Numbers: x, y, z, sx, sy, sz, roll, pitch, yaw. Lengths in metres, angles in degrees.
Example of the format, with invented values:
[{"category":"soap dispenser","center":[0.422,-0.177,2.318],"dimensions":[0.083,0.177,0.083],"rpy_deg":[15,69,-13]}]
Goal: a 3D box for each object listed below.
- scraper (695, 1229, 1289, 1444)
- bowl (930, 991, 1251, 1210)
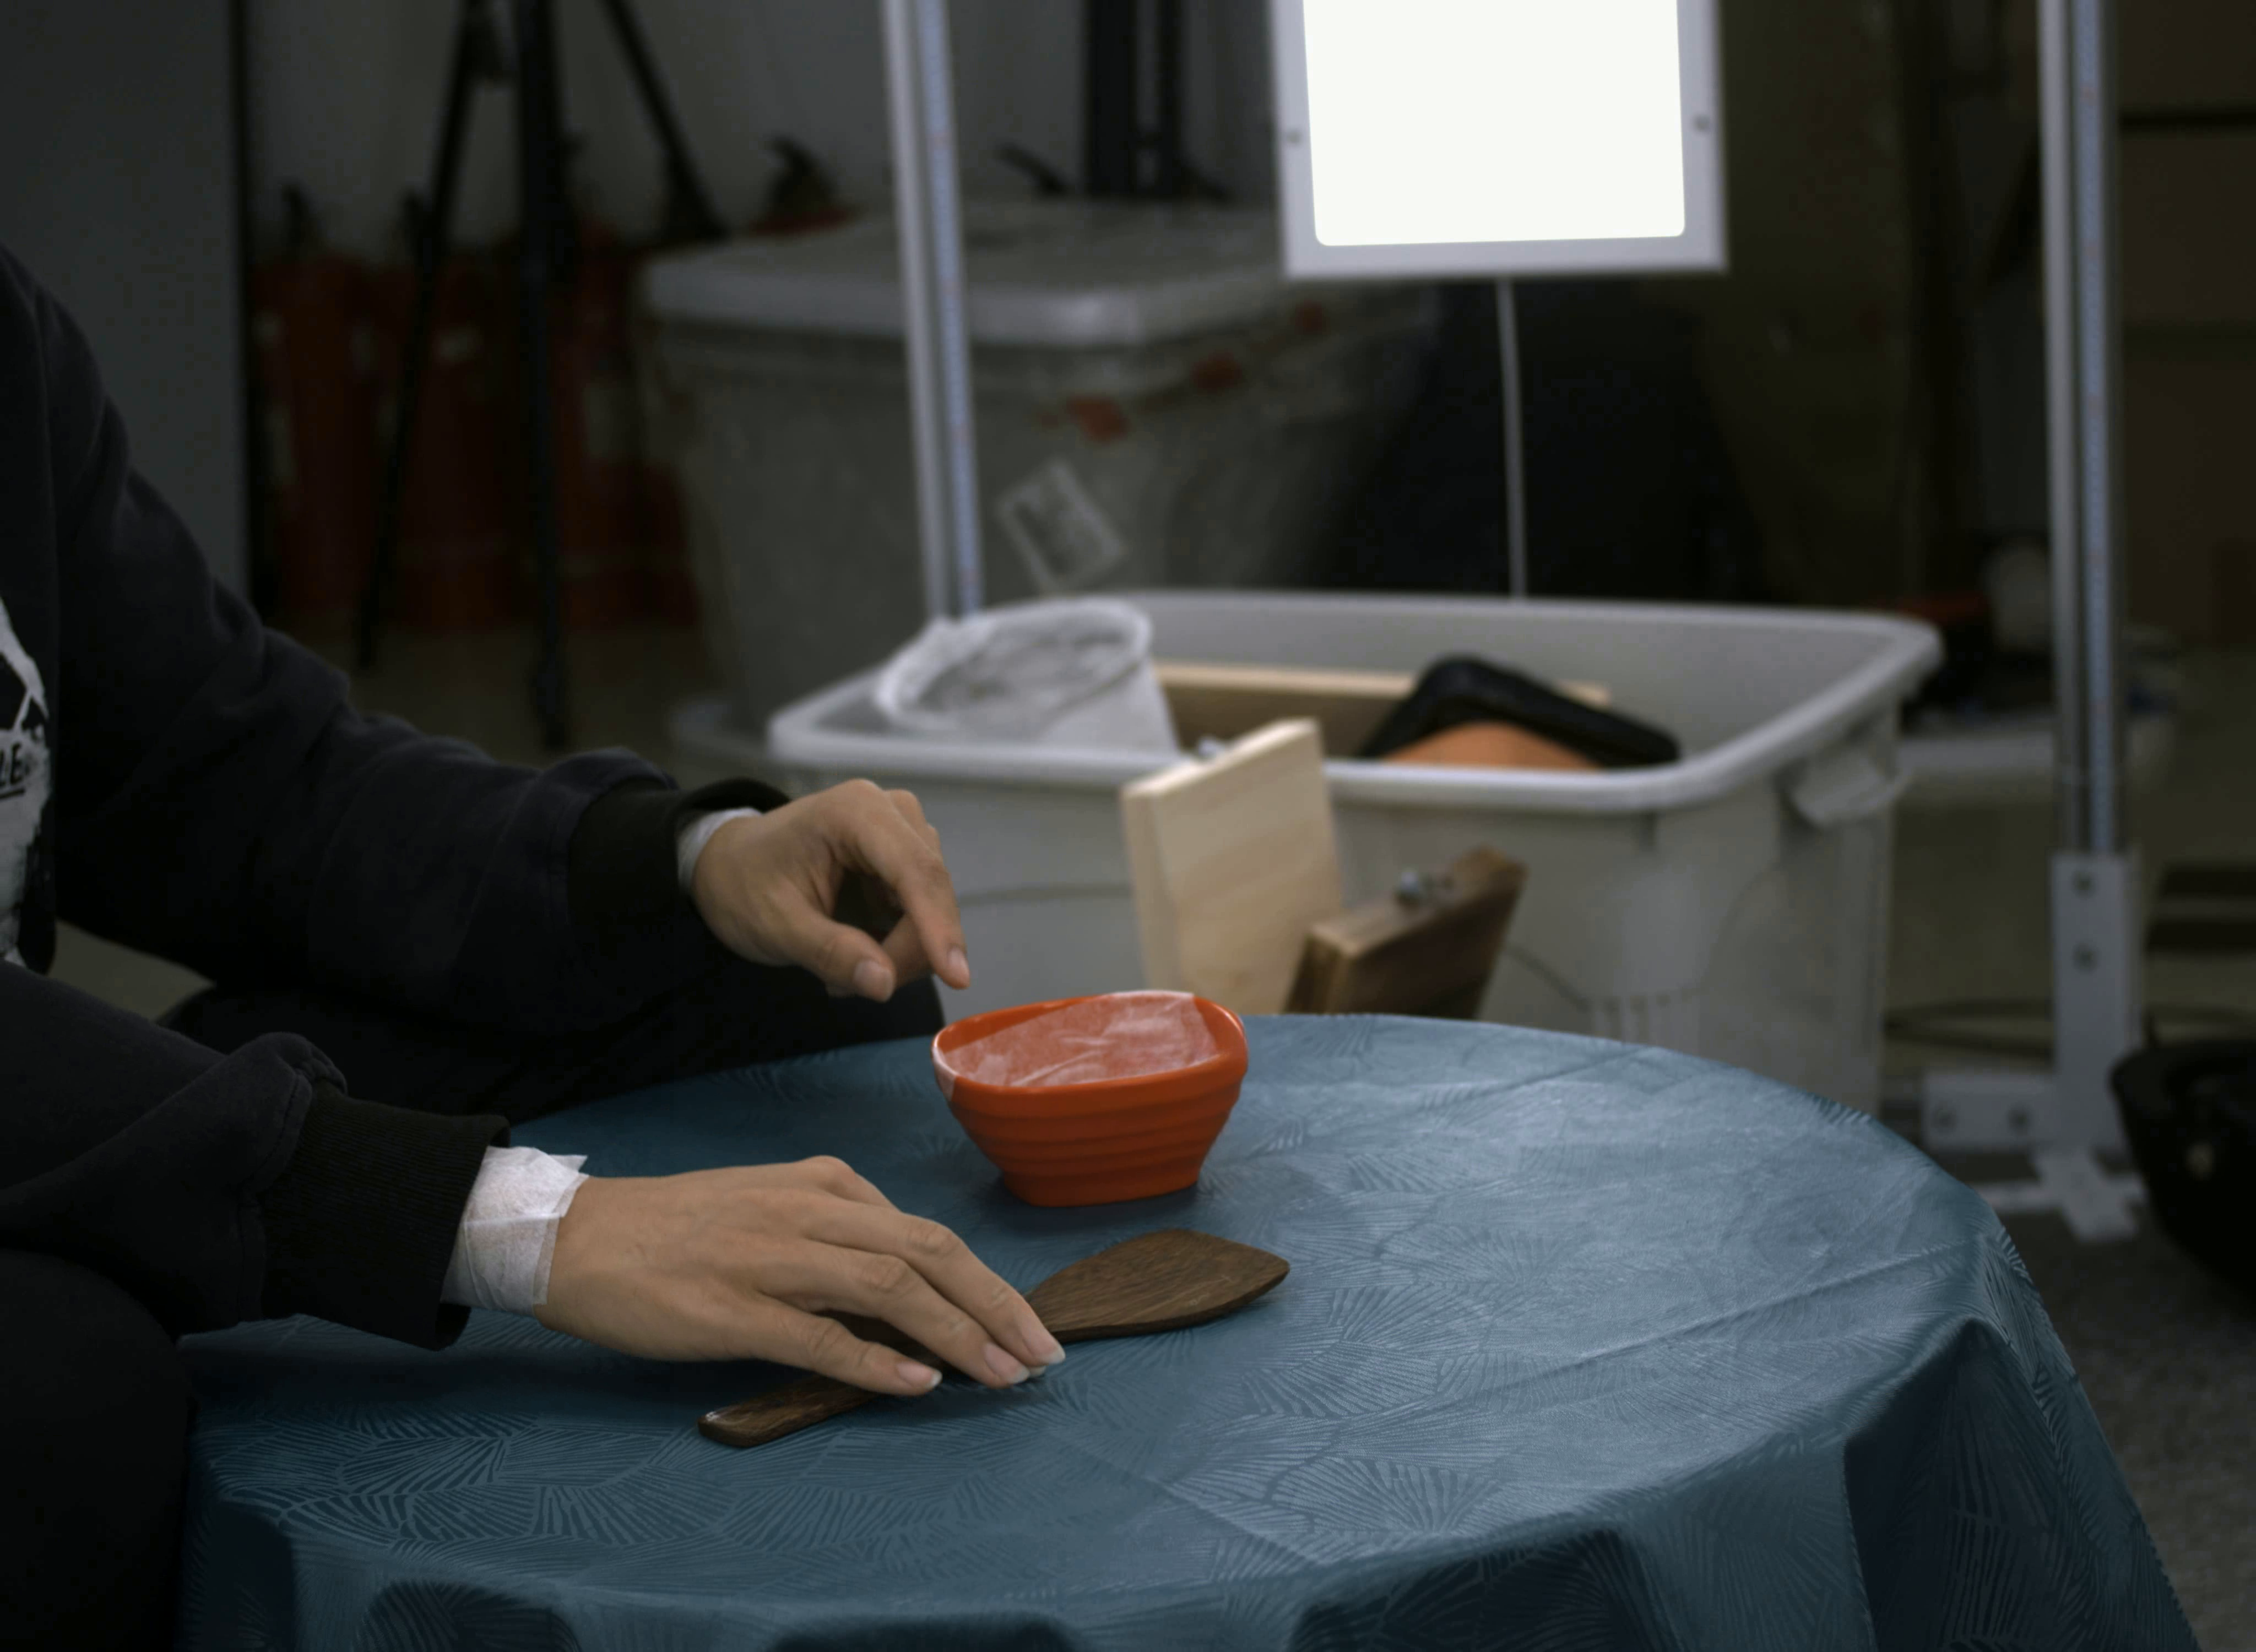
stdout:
[{"category":"scraper","center":[-0.046,0.163,1.747],"dimensions":[0.206,0.011,0.077],"rpy_deg":[-15,16,-34]},{"category":"bowl","center":[-0.012,0.098,1.914],"dimensions":[0.118,0.051,0.119],"rpy_deg":[-3,16,0]}]
